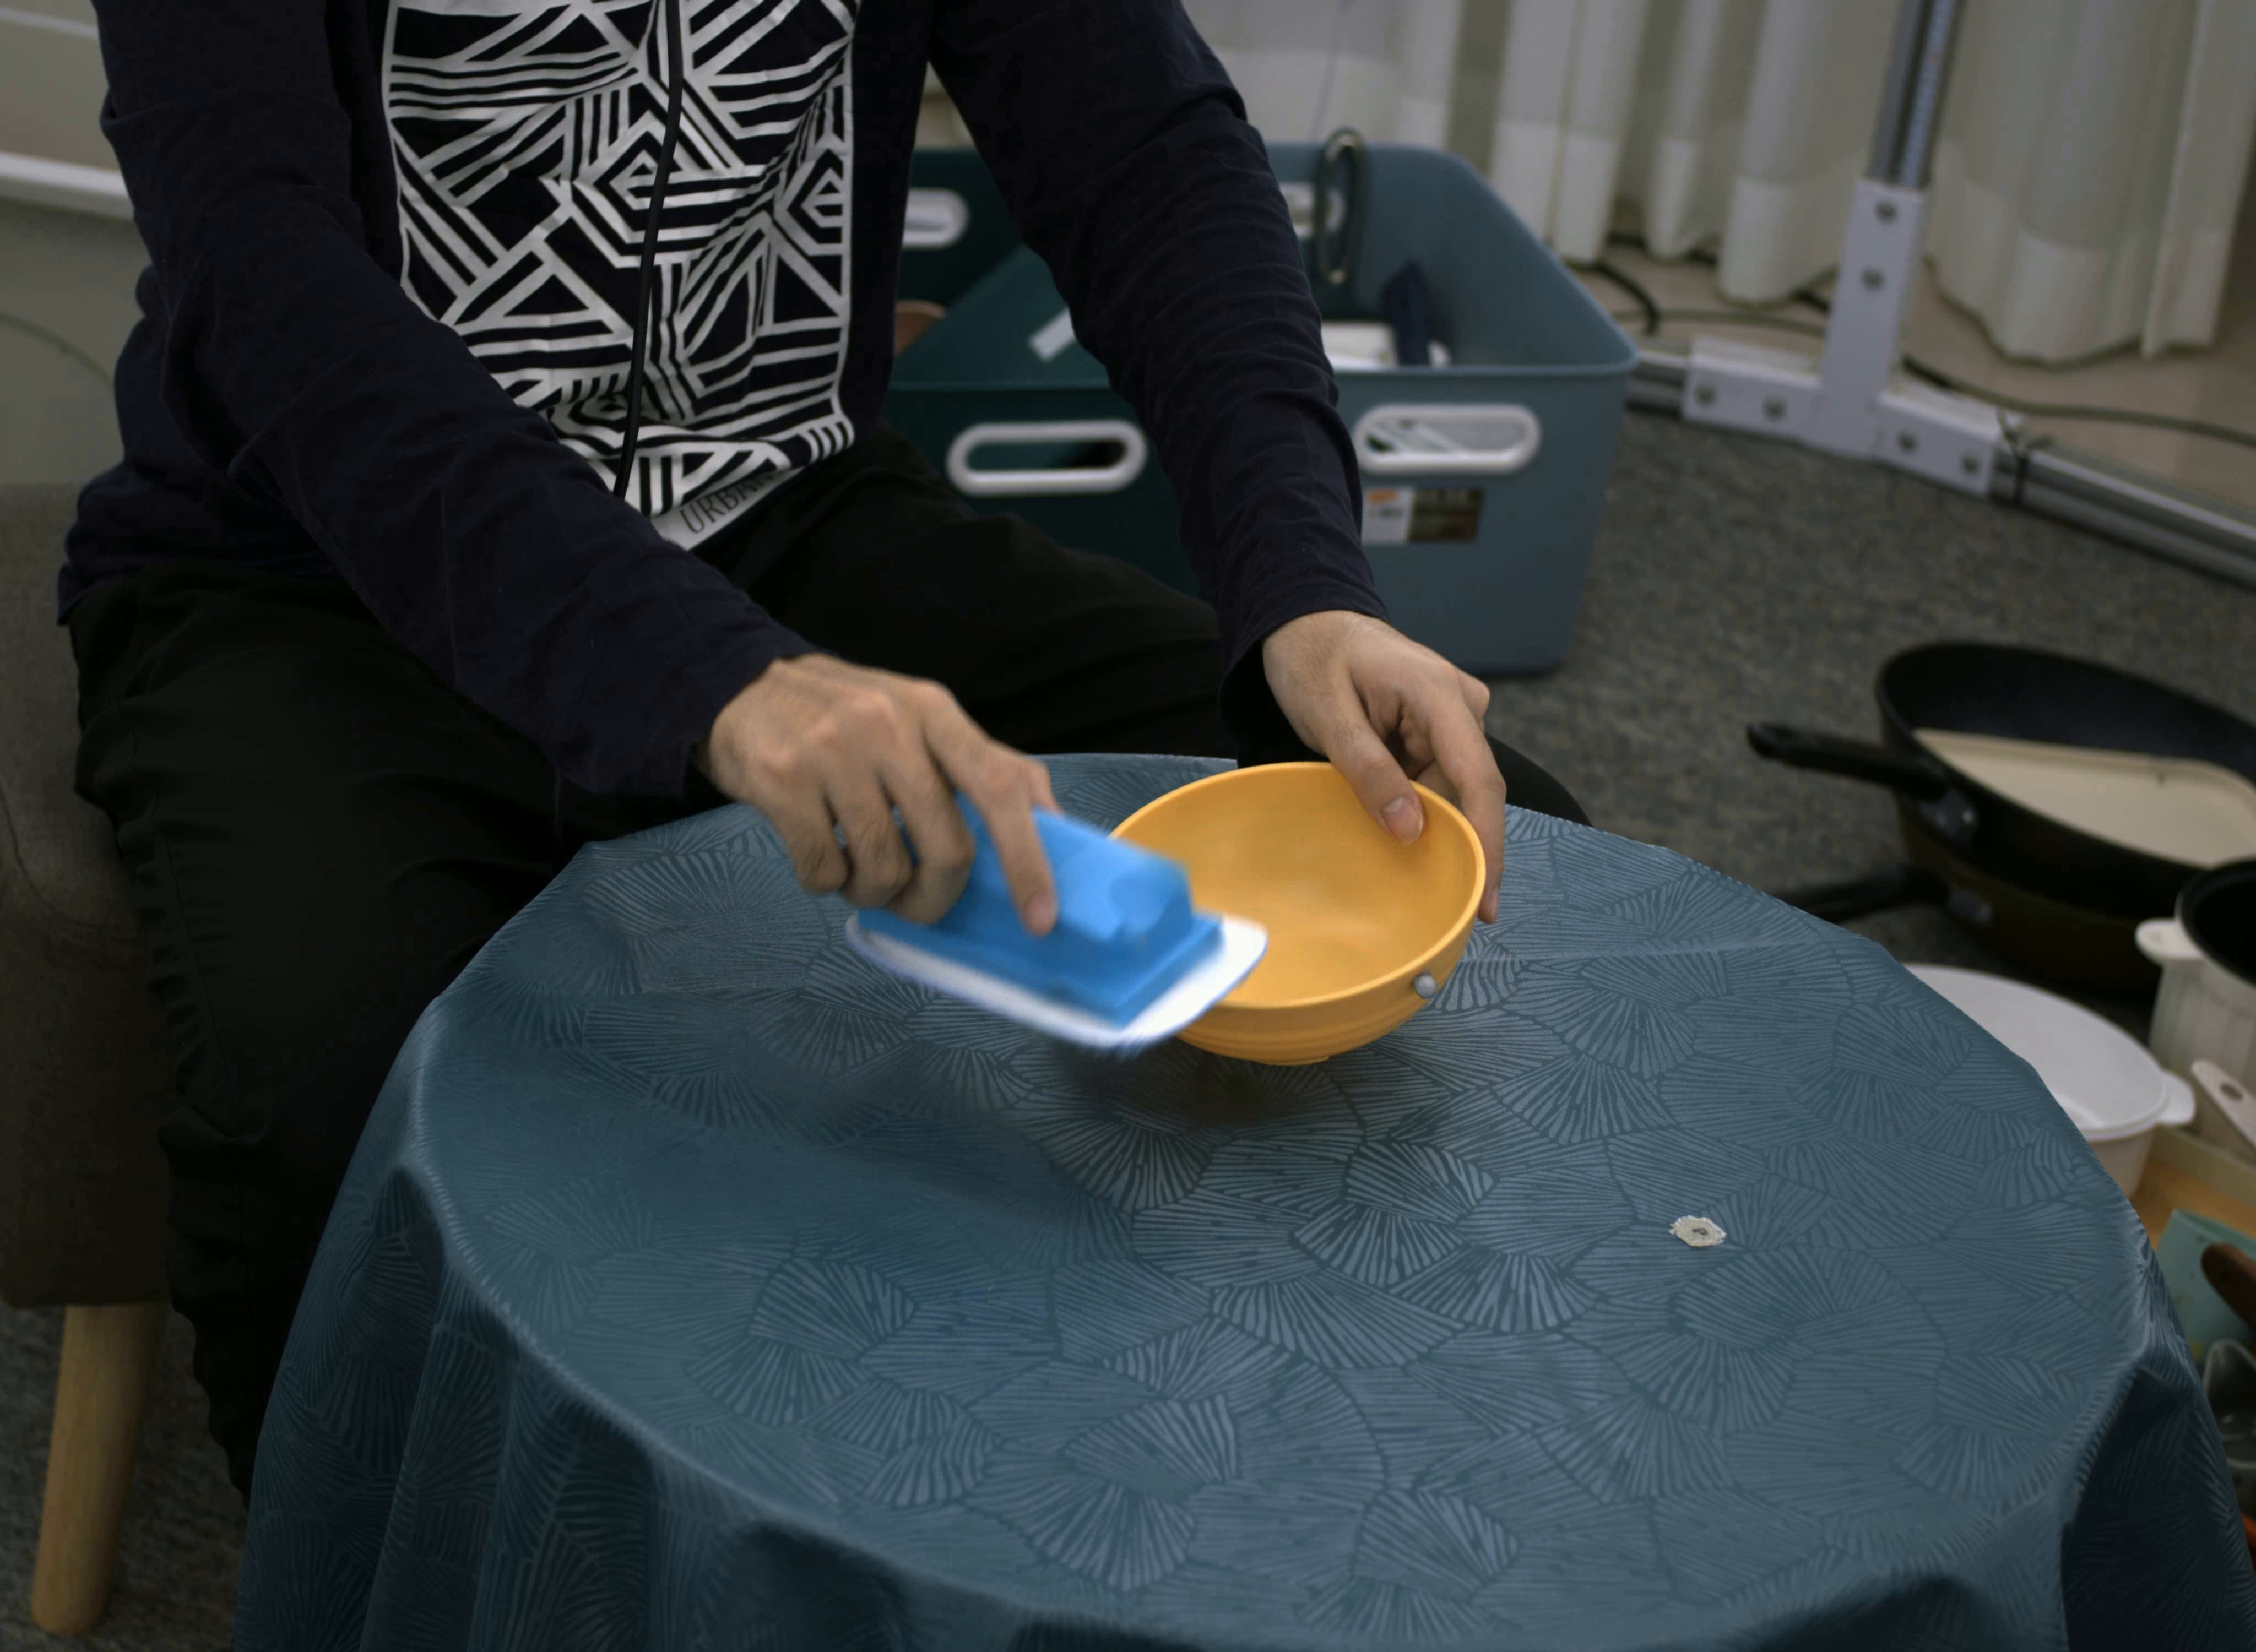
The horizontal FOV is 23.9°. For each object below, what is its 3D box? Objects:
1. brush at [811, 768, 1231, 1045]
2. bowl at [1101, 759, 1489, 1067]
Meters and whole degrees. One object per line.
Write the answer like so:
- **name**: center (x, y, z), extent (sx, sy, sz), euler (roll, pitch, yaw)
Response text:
- **brush**: center (-0.037, 0.023, 1.799), extent (0.145, 0.055, 0.083), euler (26, 42, 38)
- **bowl**: center (0.057, 0.042, 1.897), extent (0.145, 0.060, 0.146), euler (-3, 37, 2)
